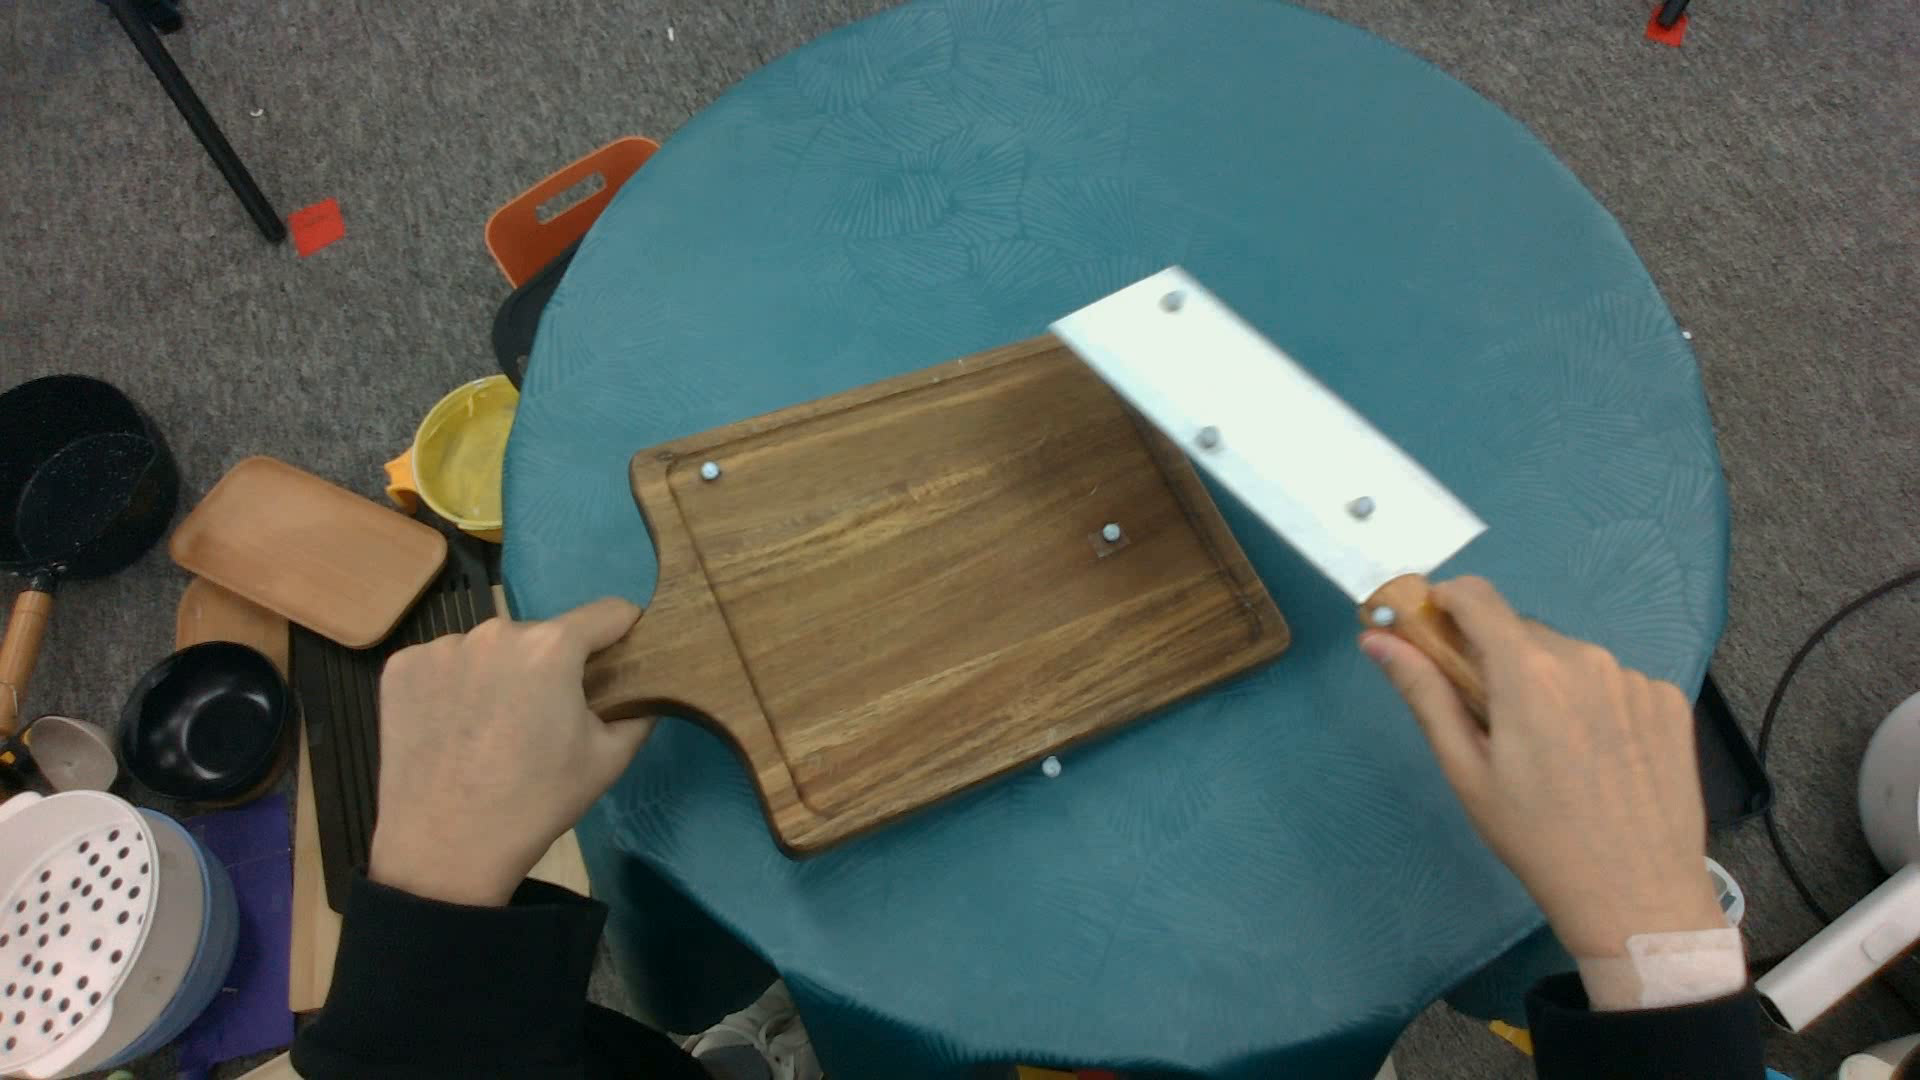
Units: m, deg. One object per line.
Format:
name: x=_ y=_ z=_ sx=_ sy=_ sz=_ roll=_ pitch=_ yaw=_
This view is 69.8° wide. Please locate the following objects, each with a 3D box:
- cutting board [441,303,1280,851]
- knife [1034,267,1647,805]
cutting board: x=-0.048 y=0.017 z=0.602 sx=0.353 sy=0.023 sz=0.201 roll=-20 pitch=68 yaw=-22
knife: x=0.162 y=-0.019 z=0.577 sx=0.306 sy=0.021 sz=0.093 roll=43 pitch=50 yaw=19
